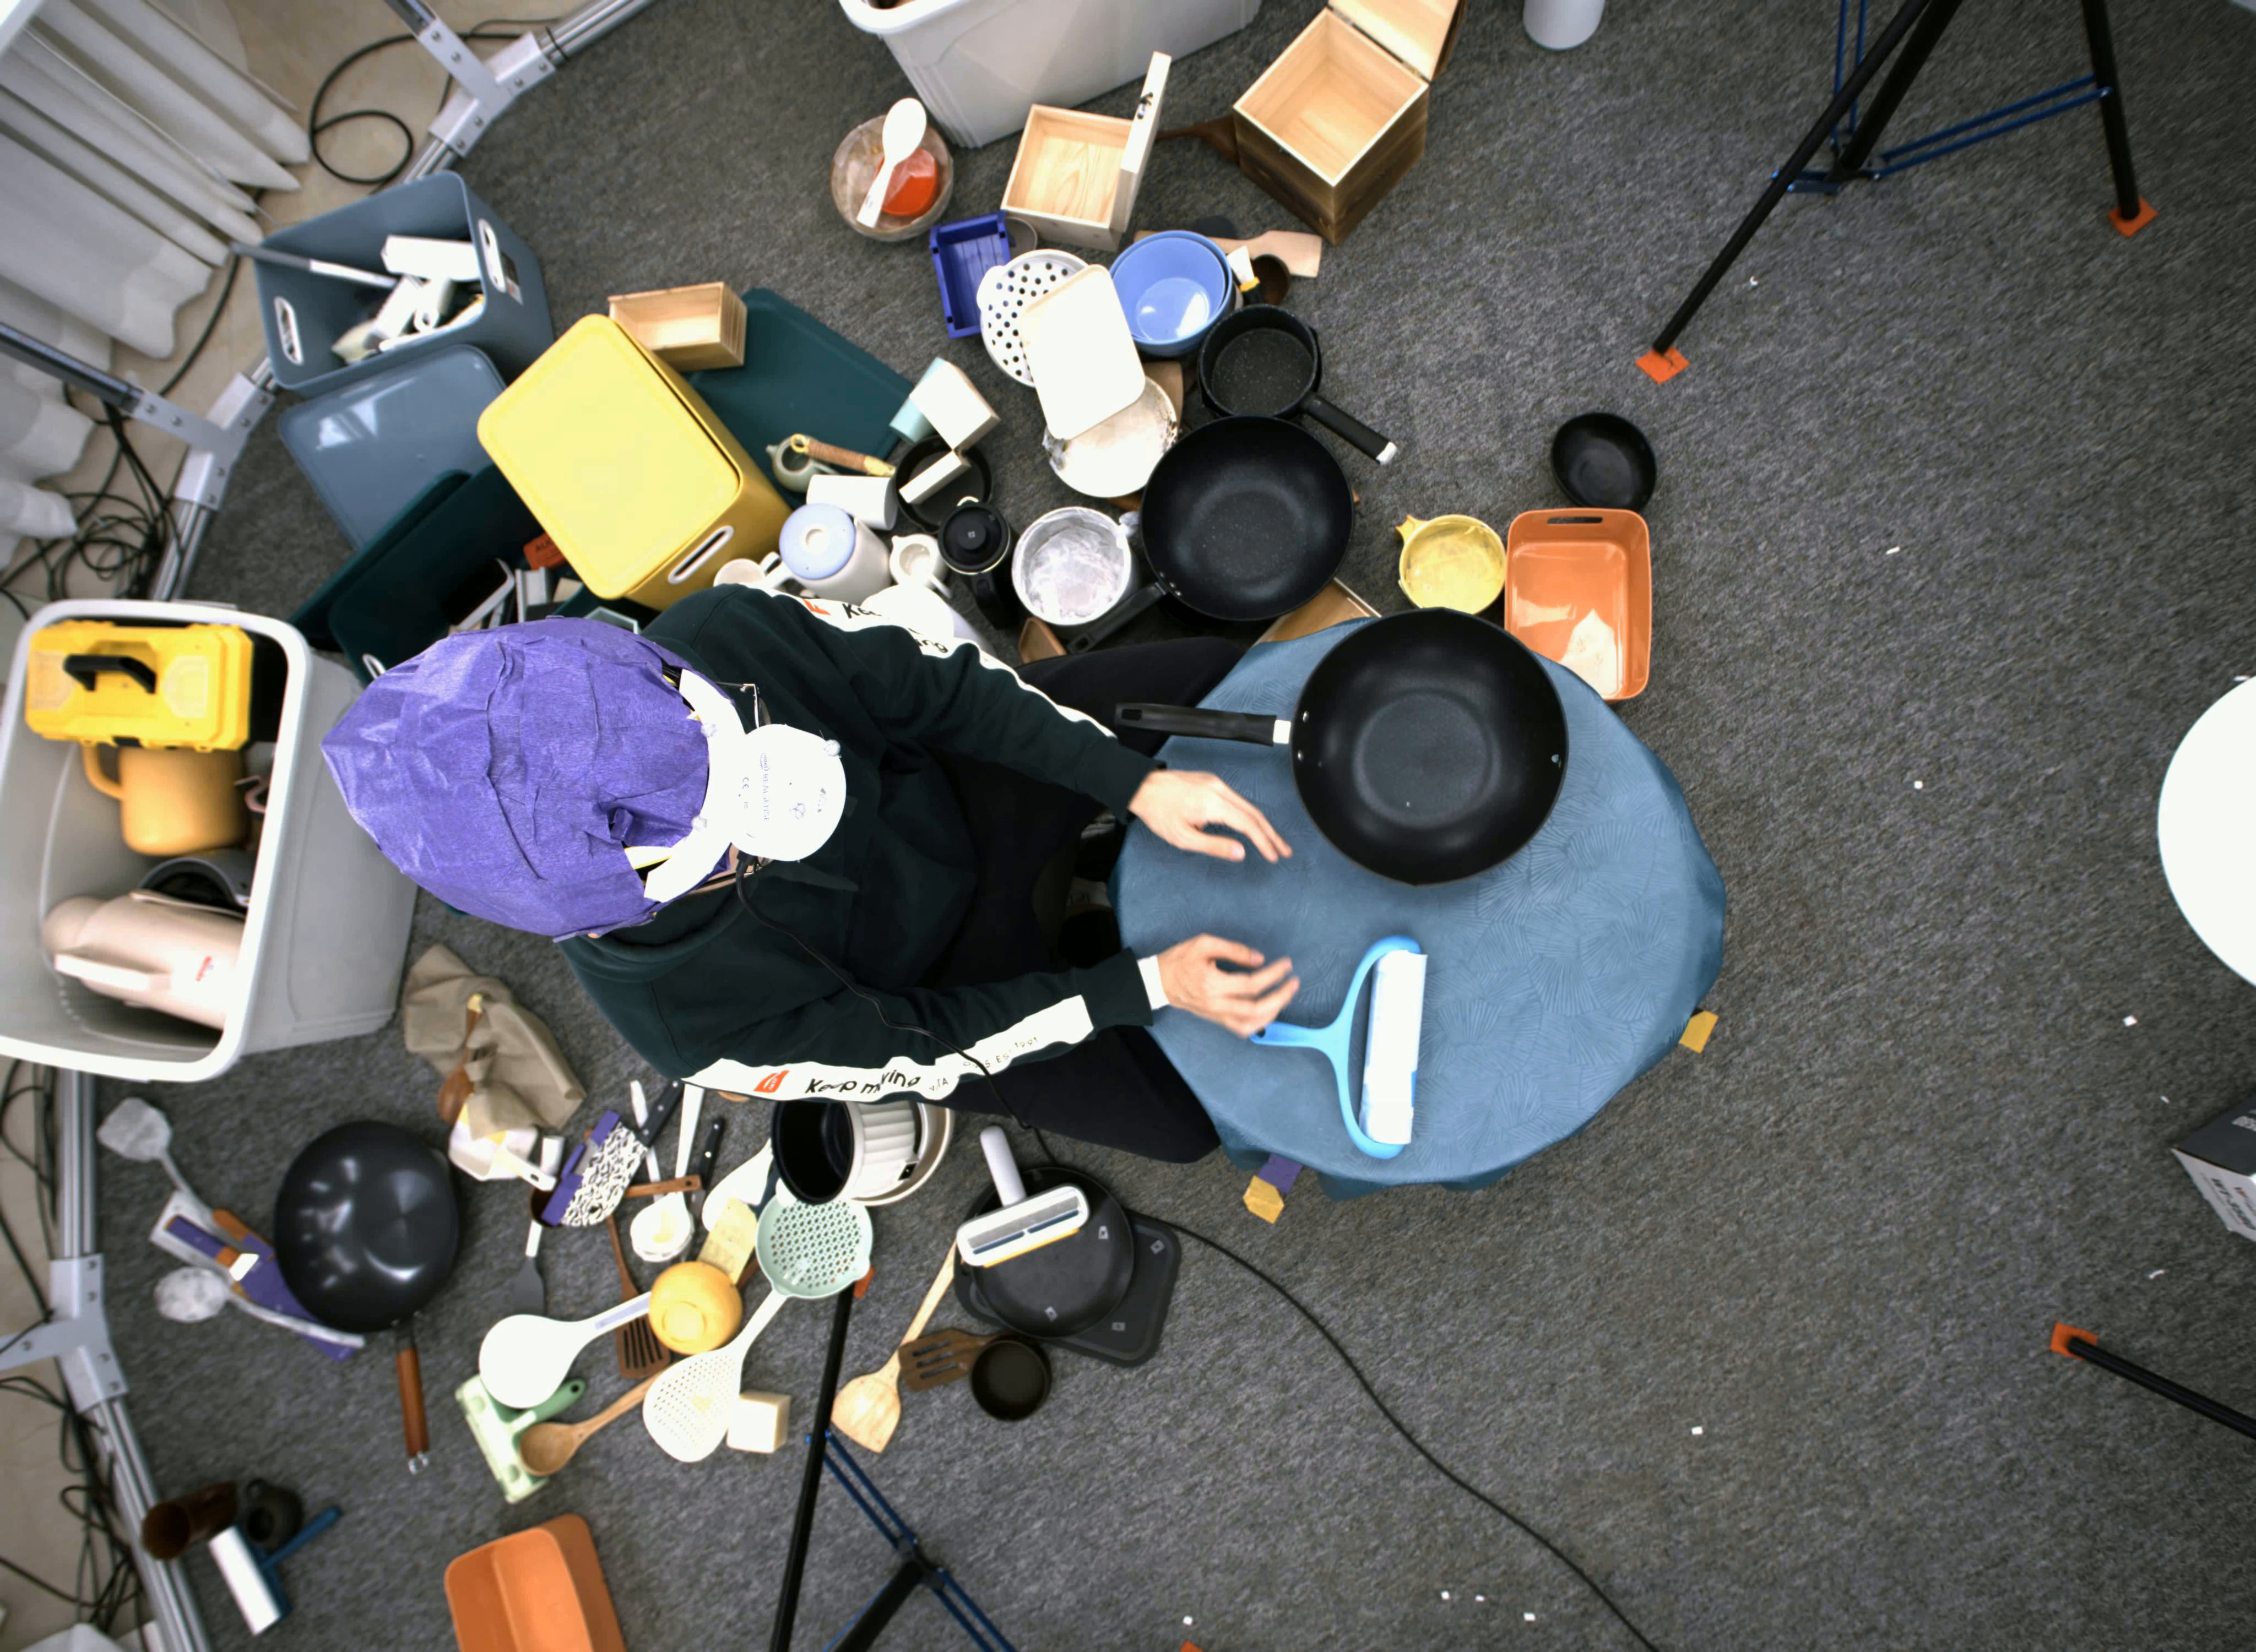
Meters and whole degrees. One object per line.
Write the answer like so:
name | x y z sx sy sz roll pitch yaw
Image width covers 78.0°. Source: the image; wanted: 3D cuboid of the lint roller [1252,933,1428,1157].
lint roller | 0.217 0.222 1.429 0.181 0.068 0.228 1 89 9

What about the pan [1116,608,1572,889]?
pan | 0.219 -0.088 1.432 0.464 0.087 0.287 7 88 11
